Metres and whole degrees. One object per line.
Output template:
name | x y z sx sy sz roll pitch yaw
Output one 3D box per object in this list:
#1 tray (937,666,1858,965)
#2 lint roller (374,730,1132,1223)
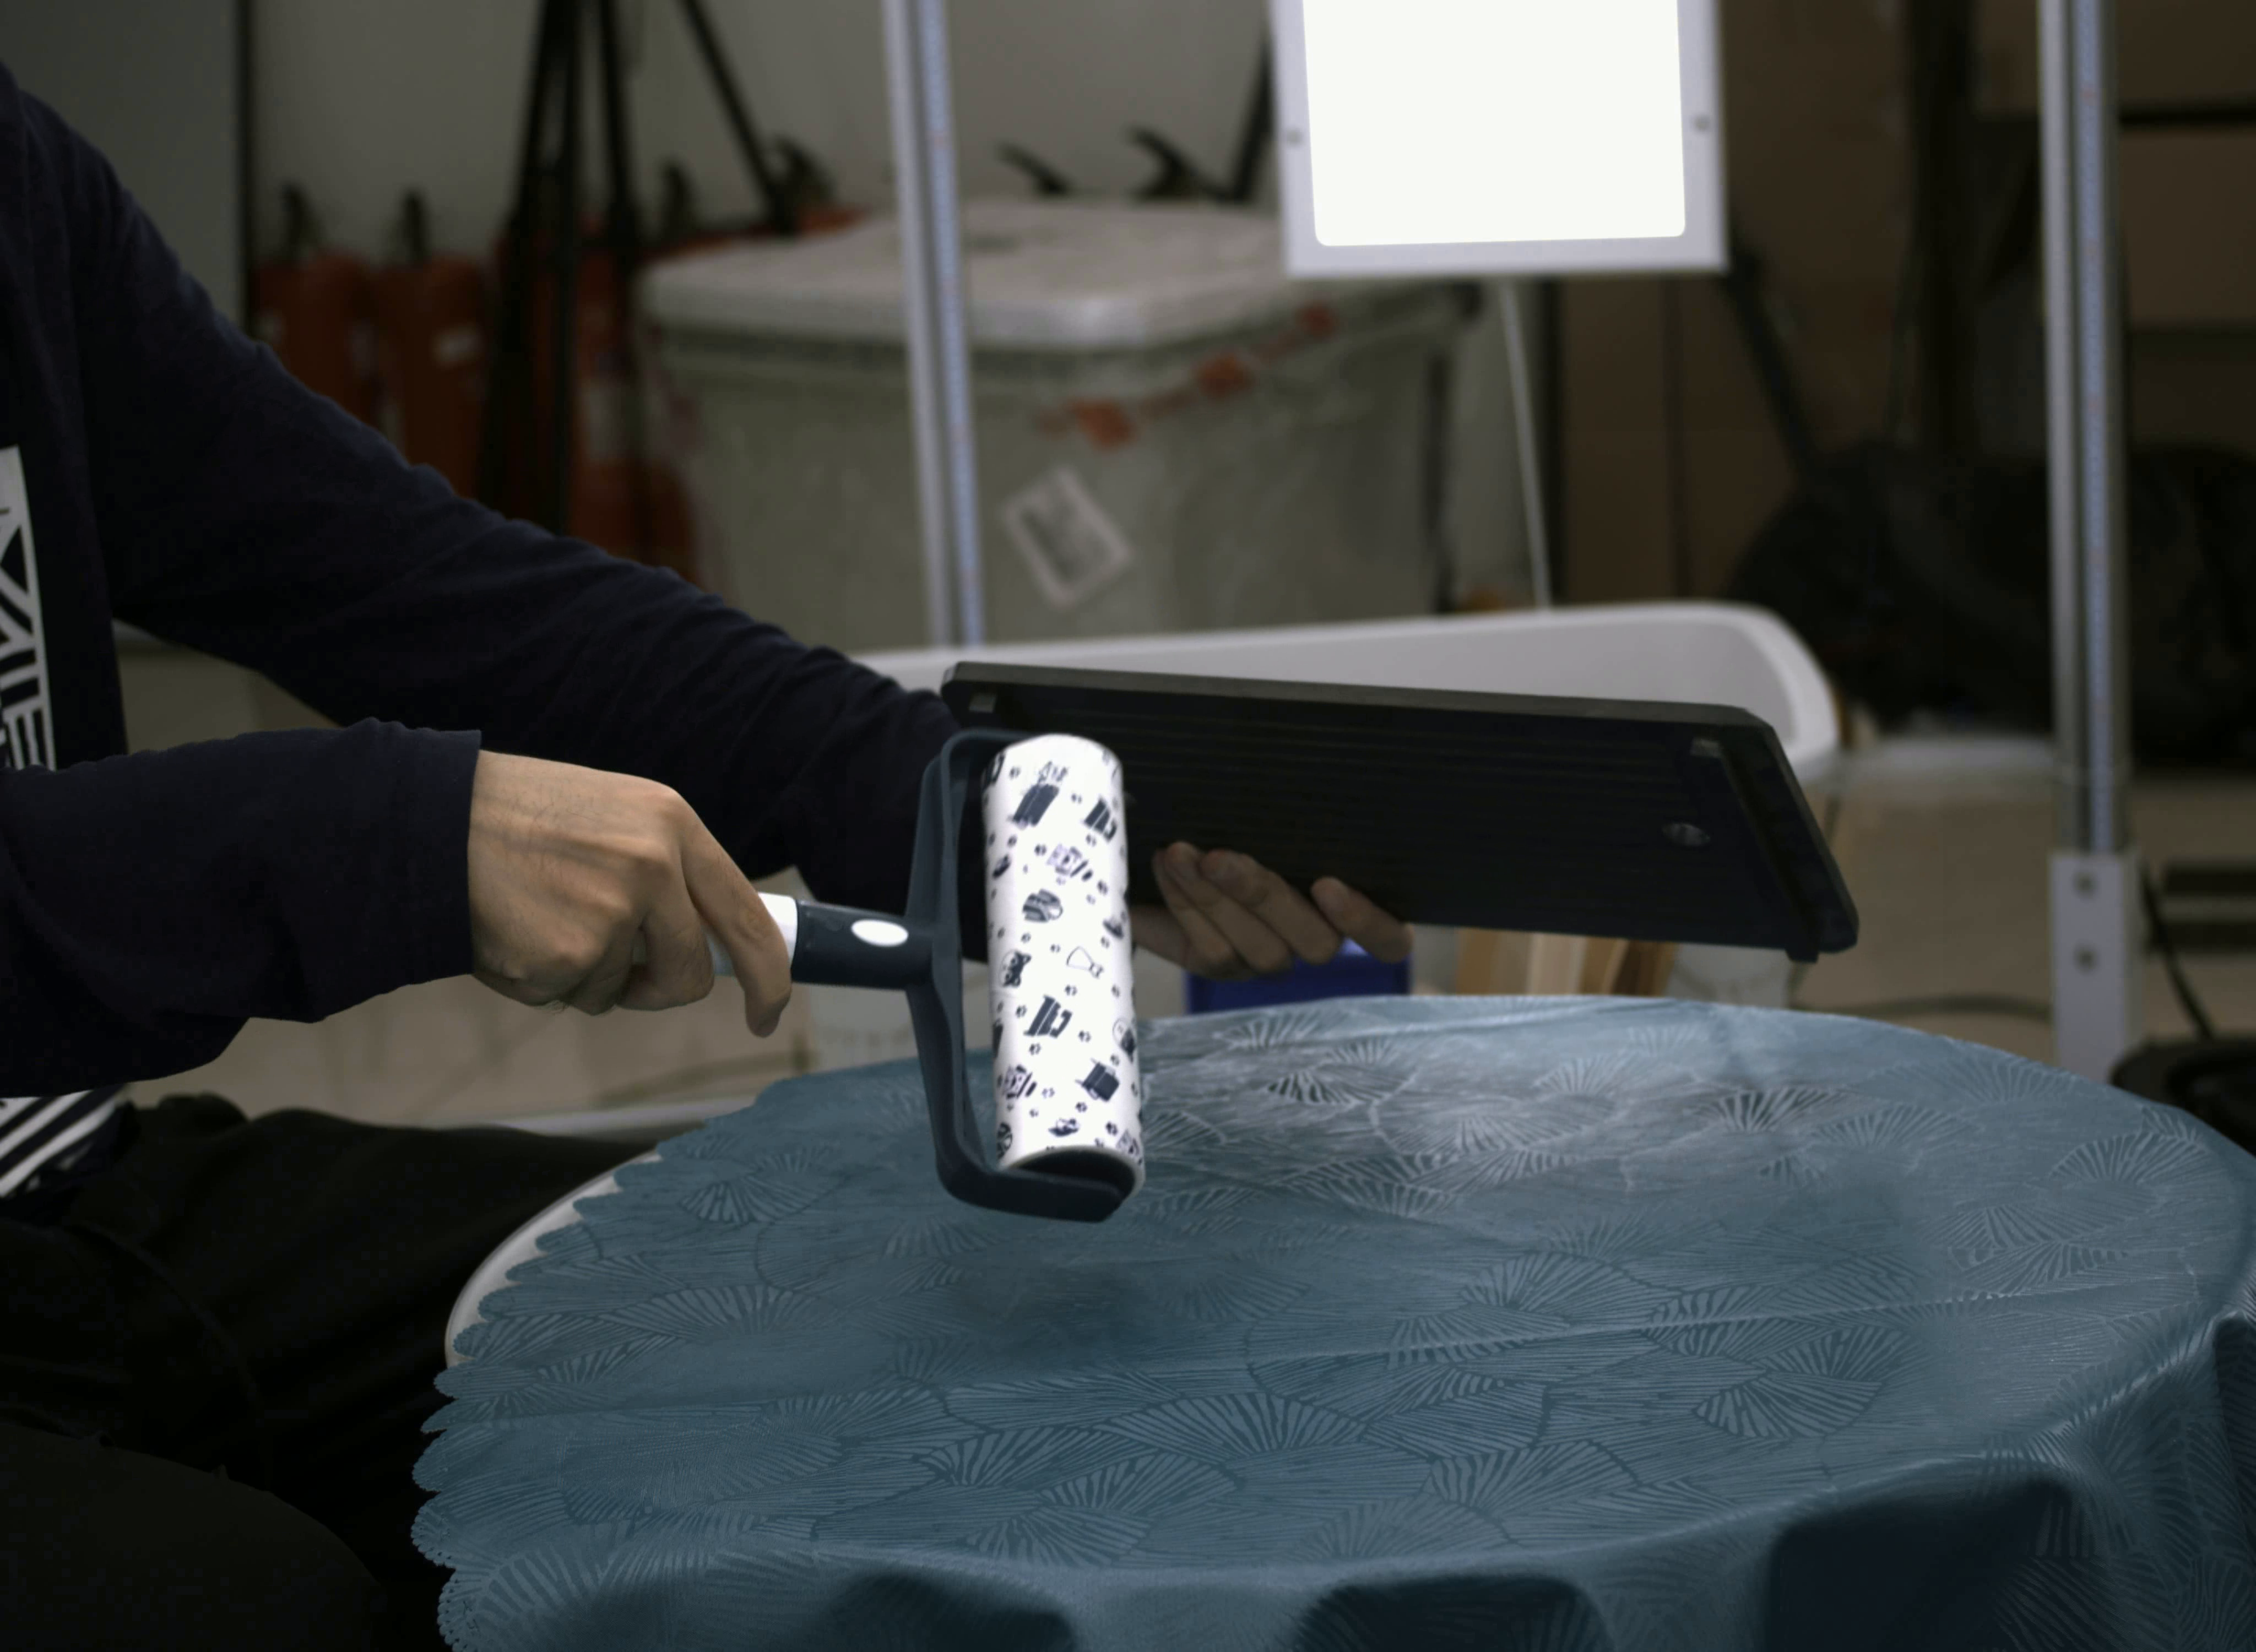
tray | 0.095 -0.002 1.940 0.311 0.018 0.168 3 -27 25
lint roller | -0.119 0.037 1.782 0.243 0.051 0.176 7 55 -15
